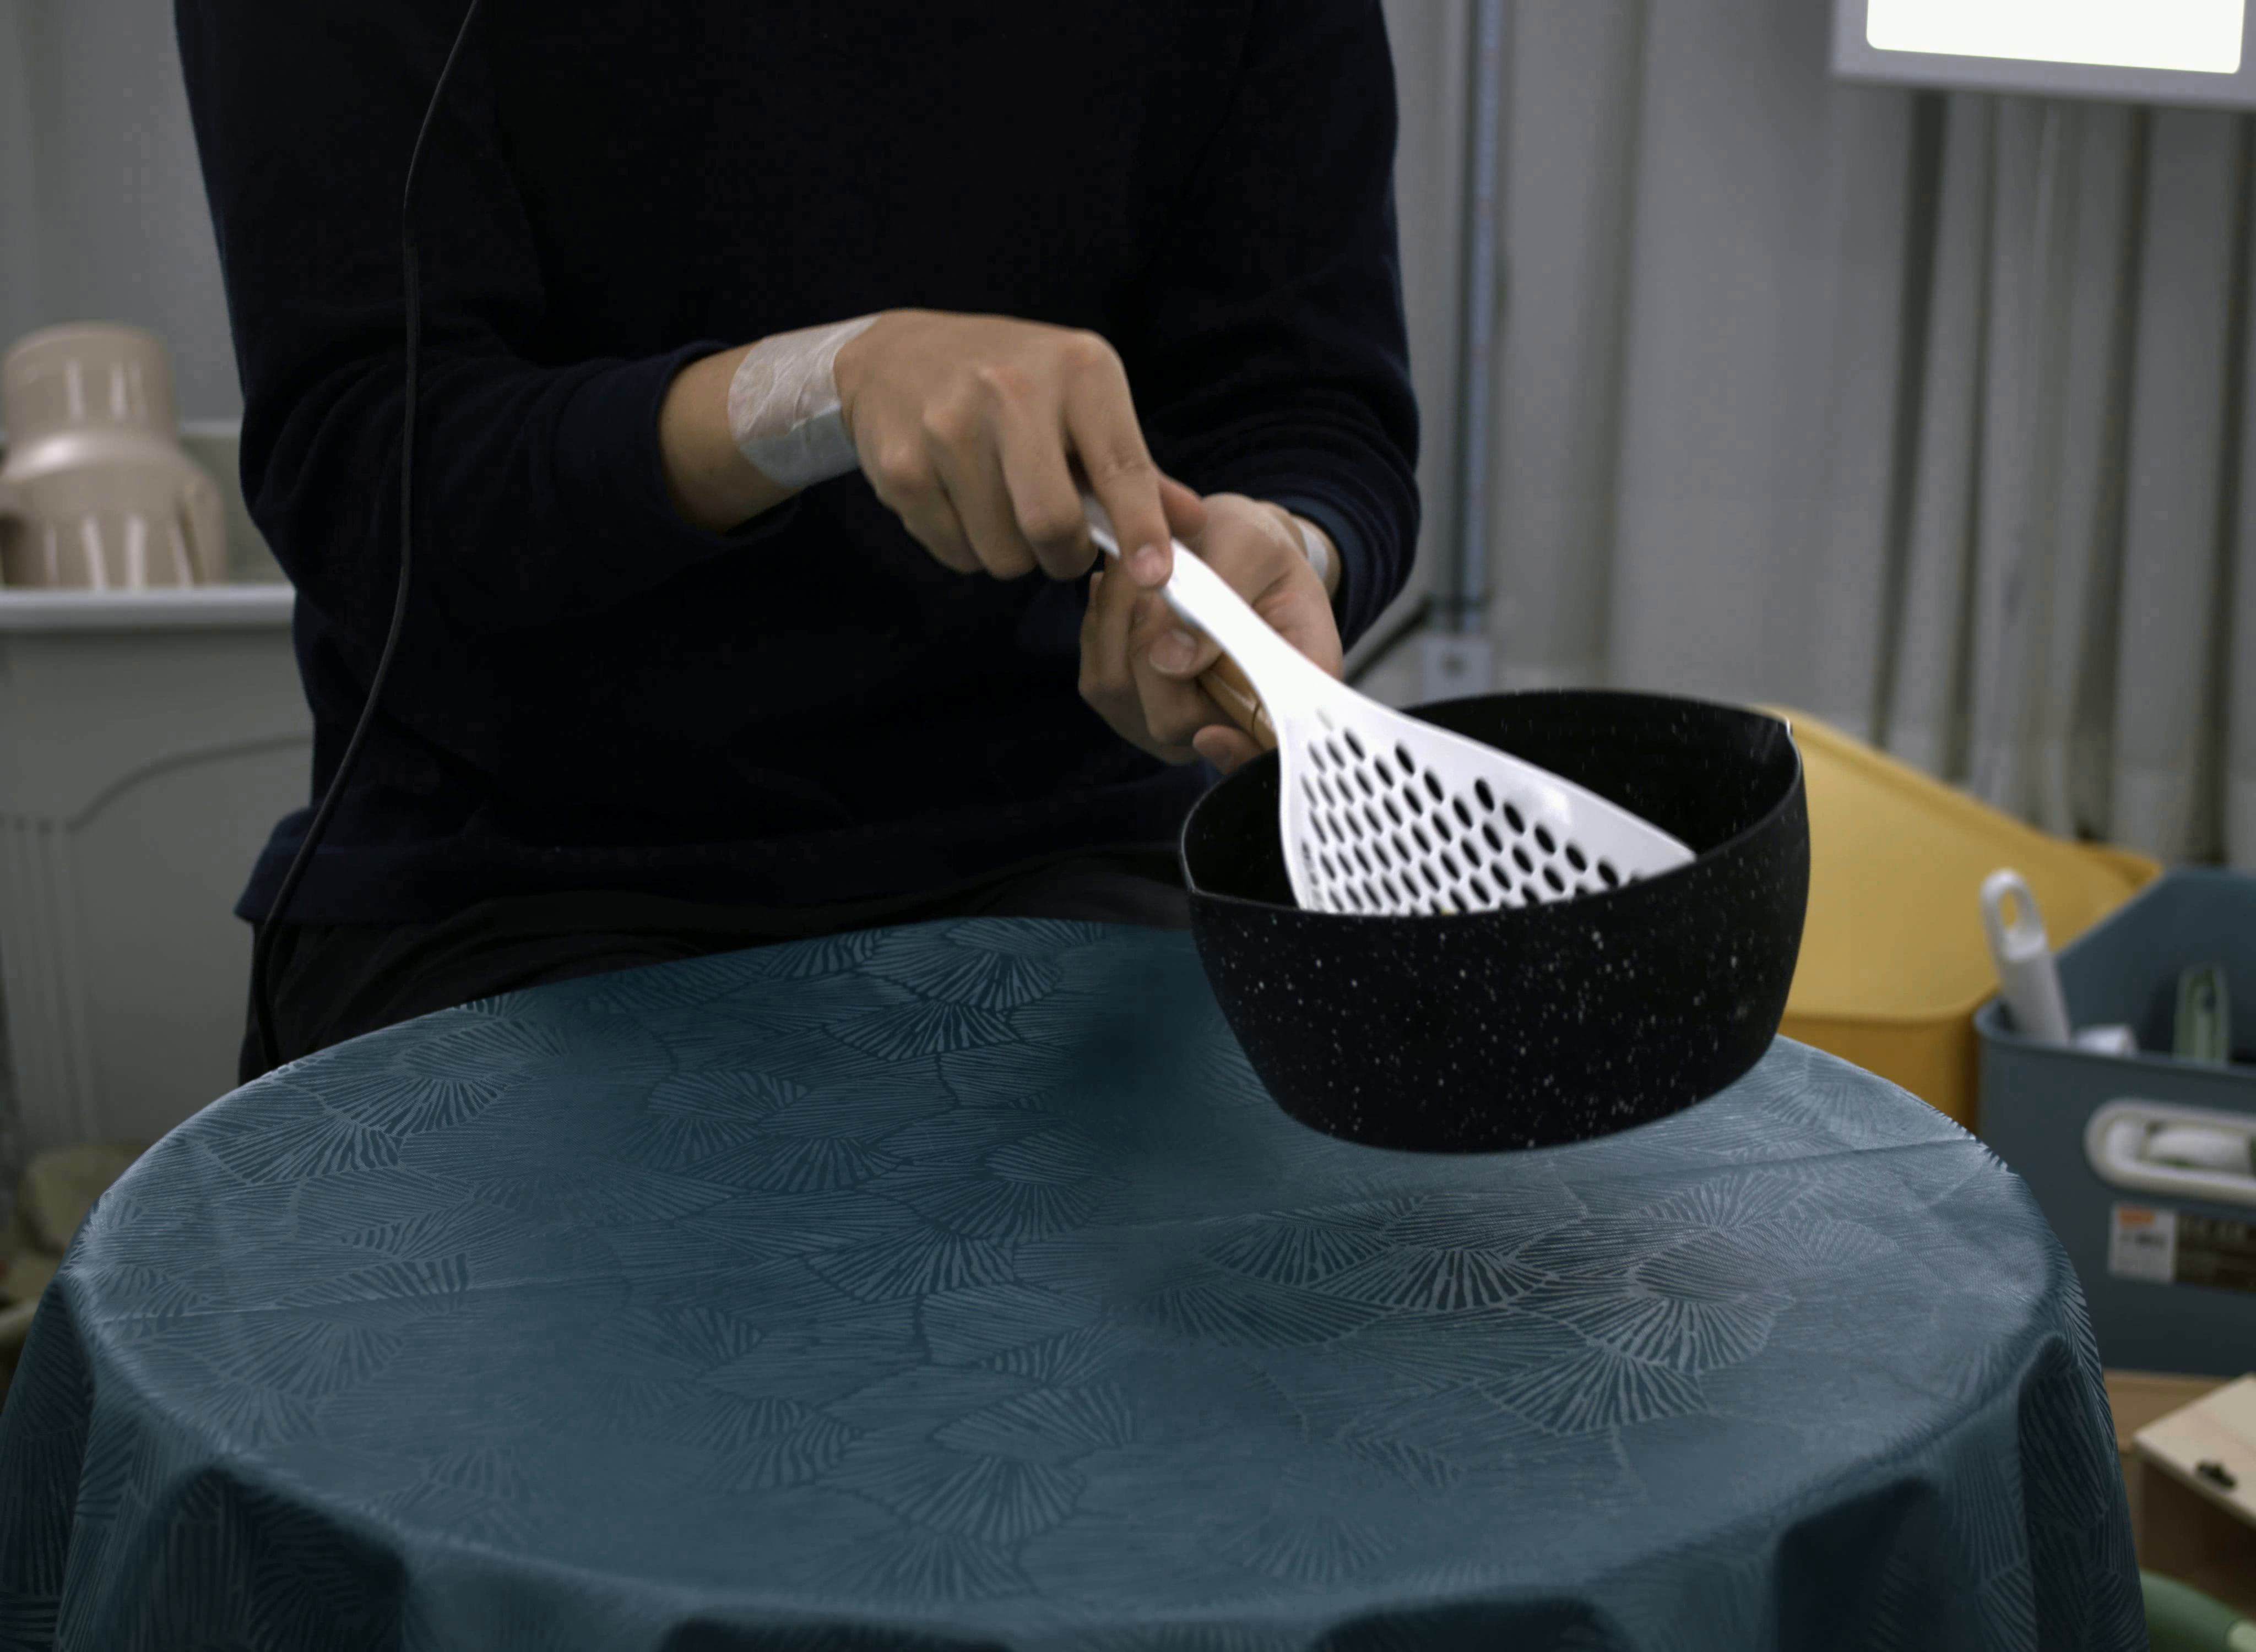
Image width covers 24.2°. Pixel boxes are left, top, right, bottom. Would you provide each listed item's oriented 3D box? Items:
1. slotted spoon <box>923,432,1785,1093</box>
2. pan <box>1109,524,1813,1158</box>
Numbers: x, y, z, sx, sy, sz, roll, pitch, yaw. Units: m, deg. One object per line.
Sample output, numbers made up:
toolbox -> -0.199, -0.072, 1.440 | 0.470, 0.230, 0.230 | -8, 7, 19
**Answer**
slotted spoon -> 0.054, -0.030, 1.594 | 0.137, 0.051, 0.344 | -23, 57, -34
pan -> 0.076, -0.004, 1.613 | 0.208, 0.109, 0.338 | -18, 23, -21
